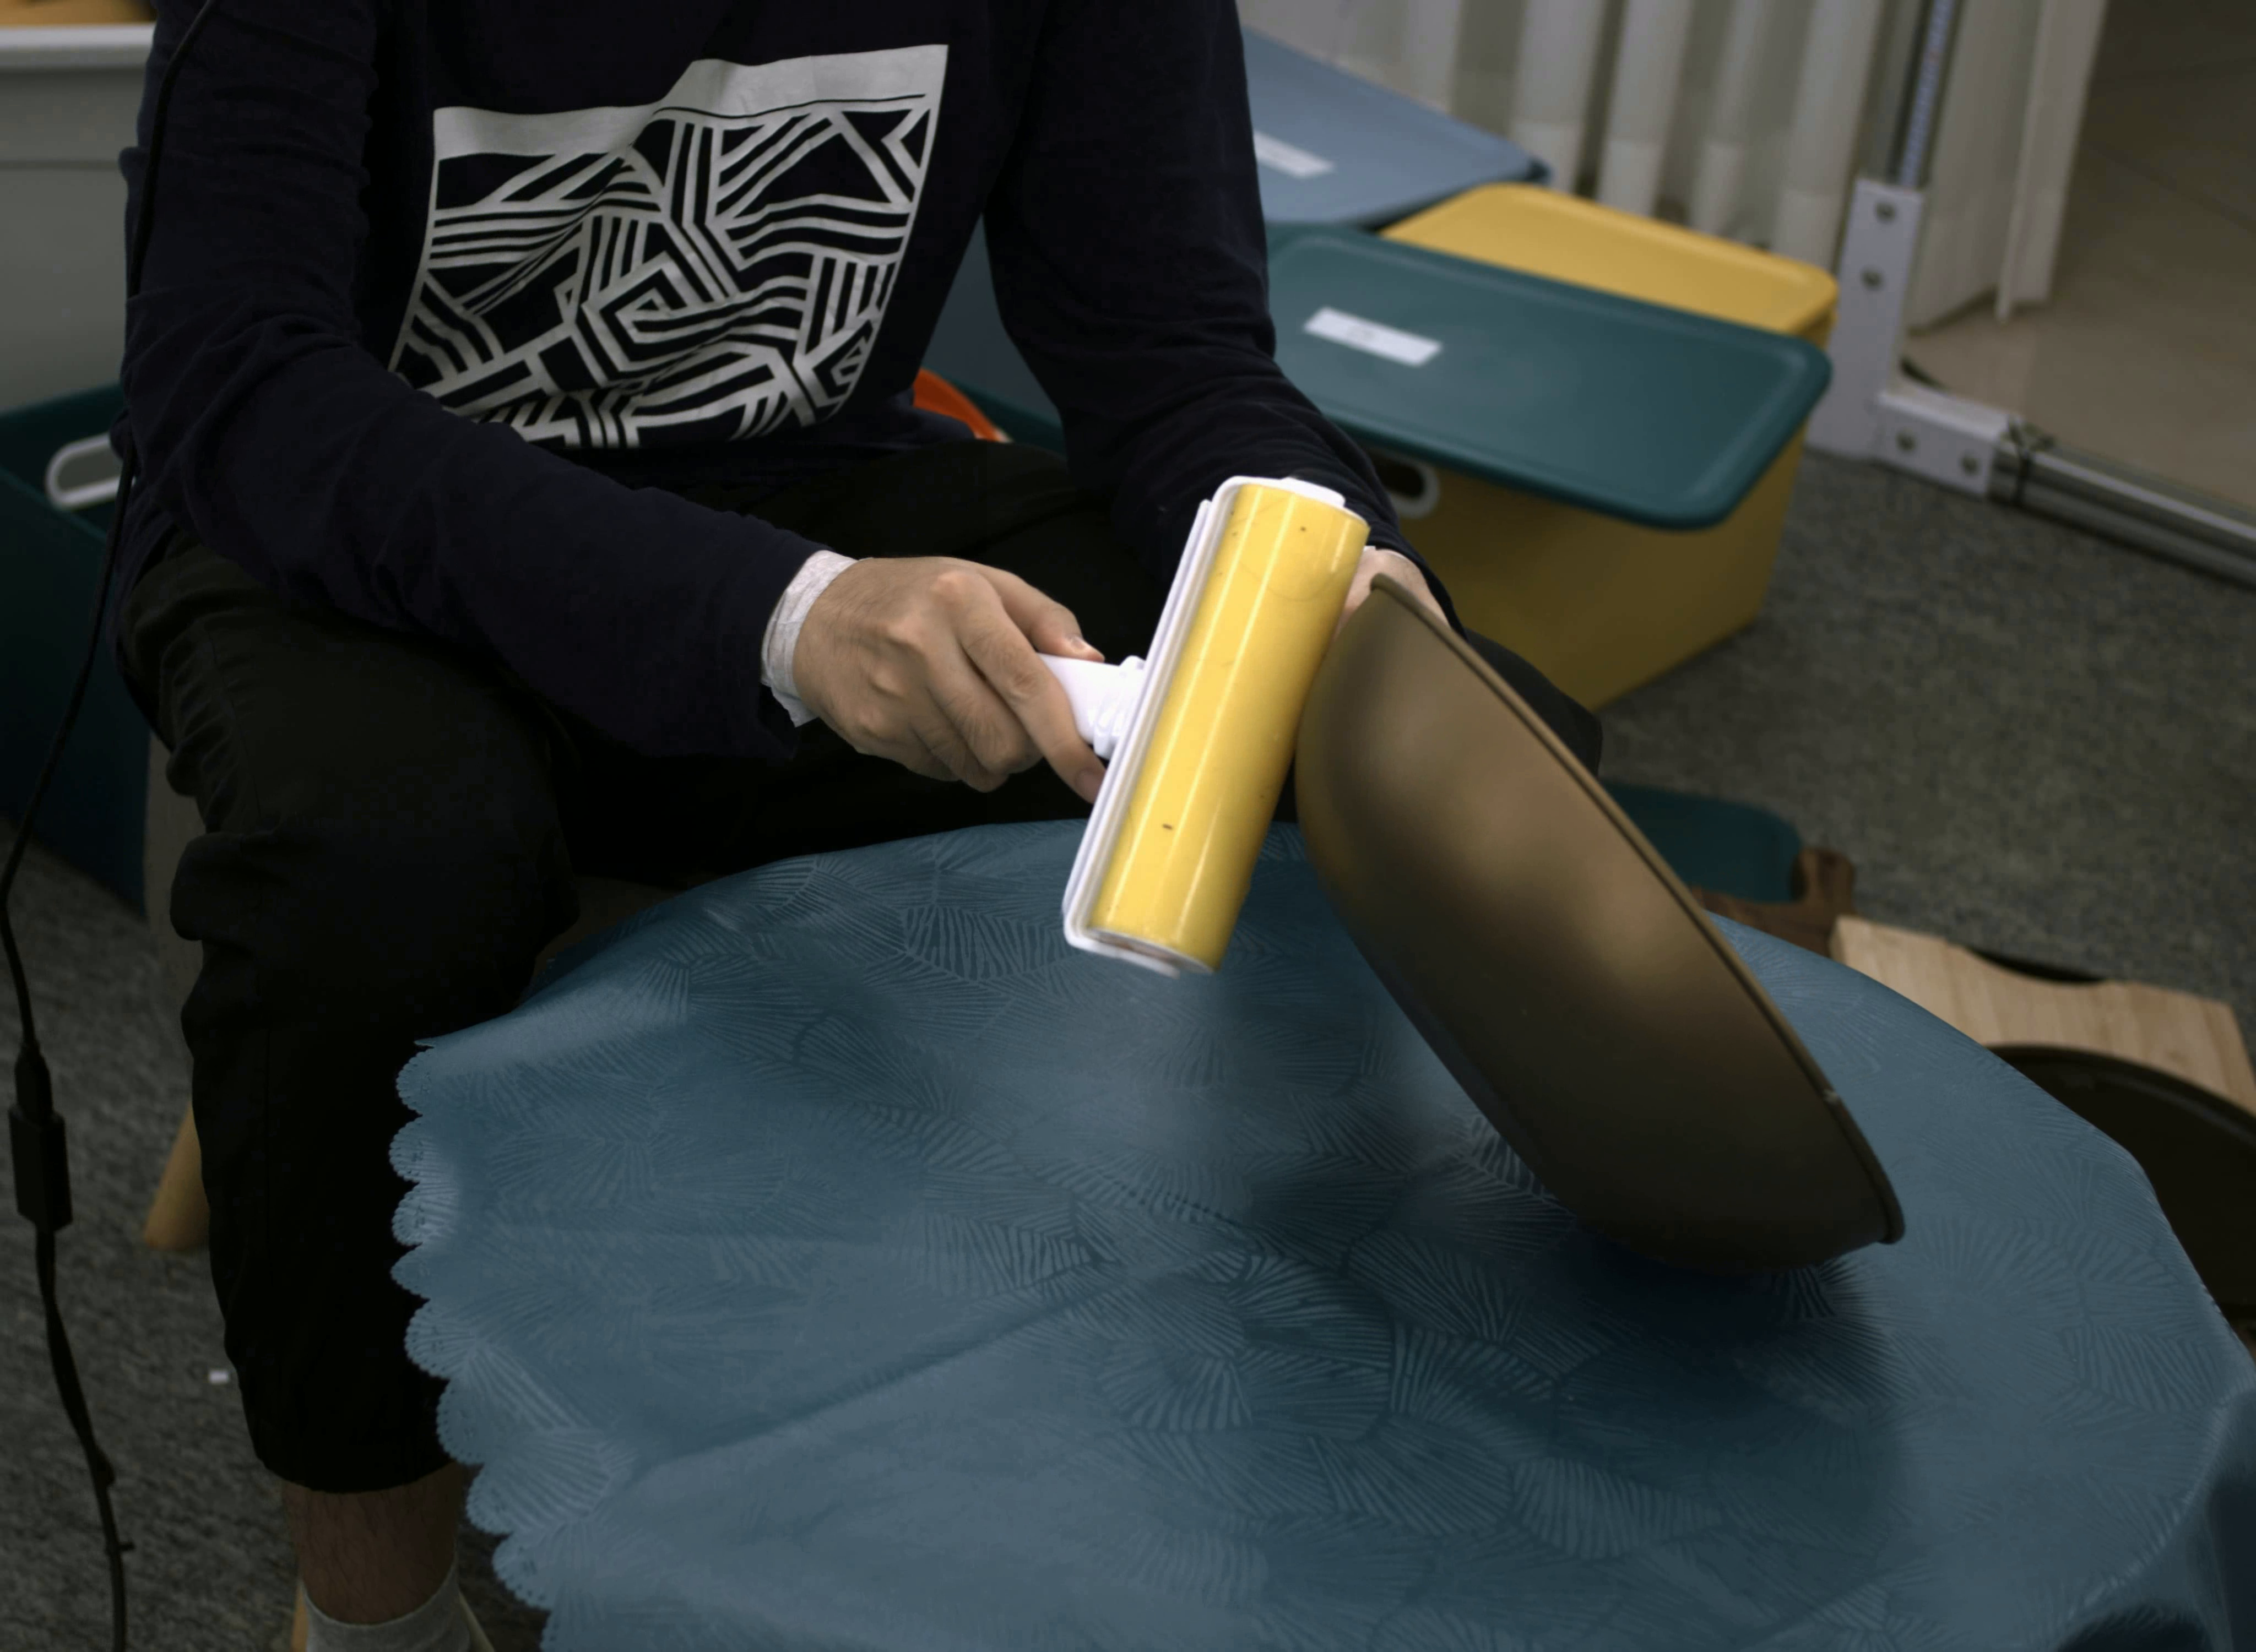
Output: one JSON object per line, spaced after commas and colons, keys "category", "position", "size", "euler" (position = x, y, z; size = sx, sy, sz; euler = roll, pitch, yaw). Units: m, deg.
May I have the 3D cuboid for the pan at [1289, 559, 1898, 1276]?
{"category": "pan", "position": [0.107, 0.013, 1.841], "size": [0.087, 0.286, 0.467], "euler": [-37, 29, -3]}

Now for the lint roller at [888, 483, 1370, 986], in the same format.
{"category": "lint roller", "position": [-0.020, -0.043, 1.839], "size": [0.193, 0.175, 0.051], "euler": [12, -10, 38]}
